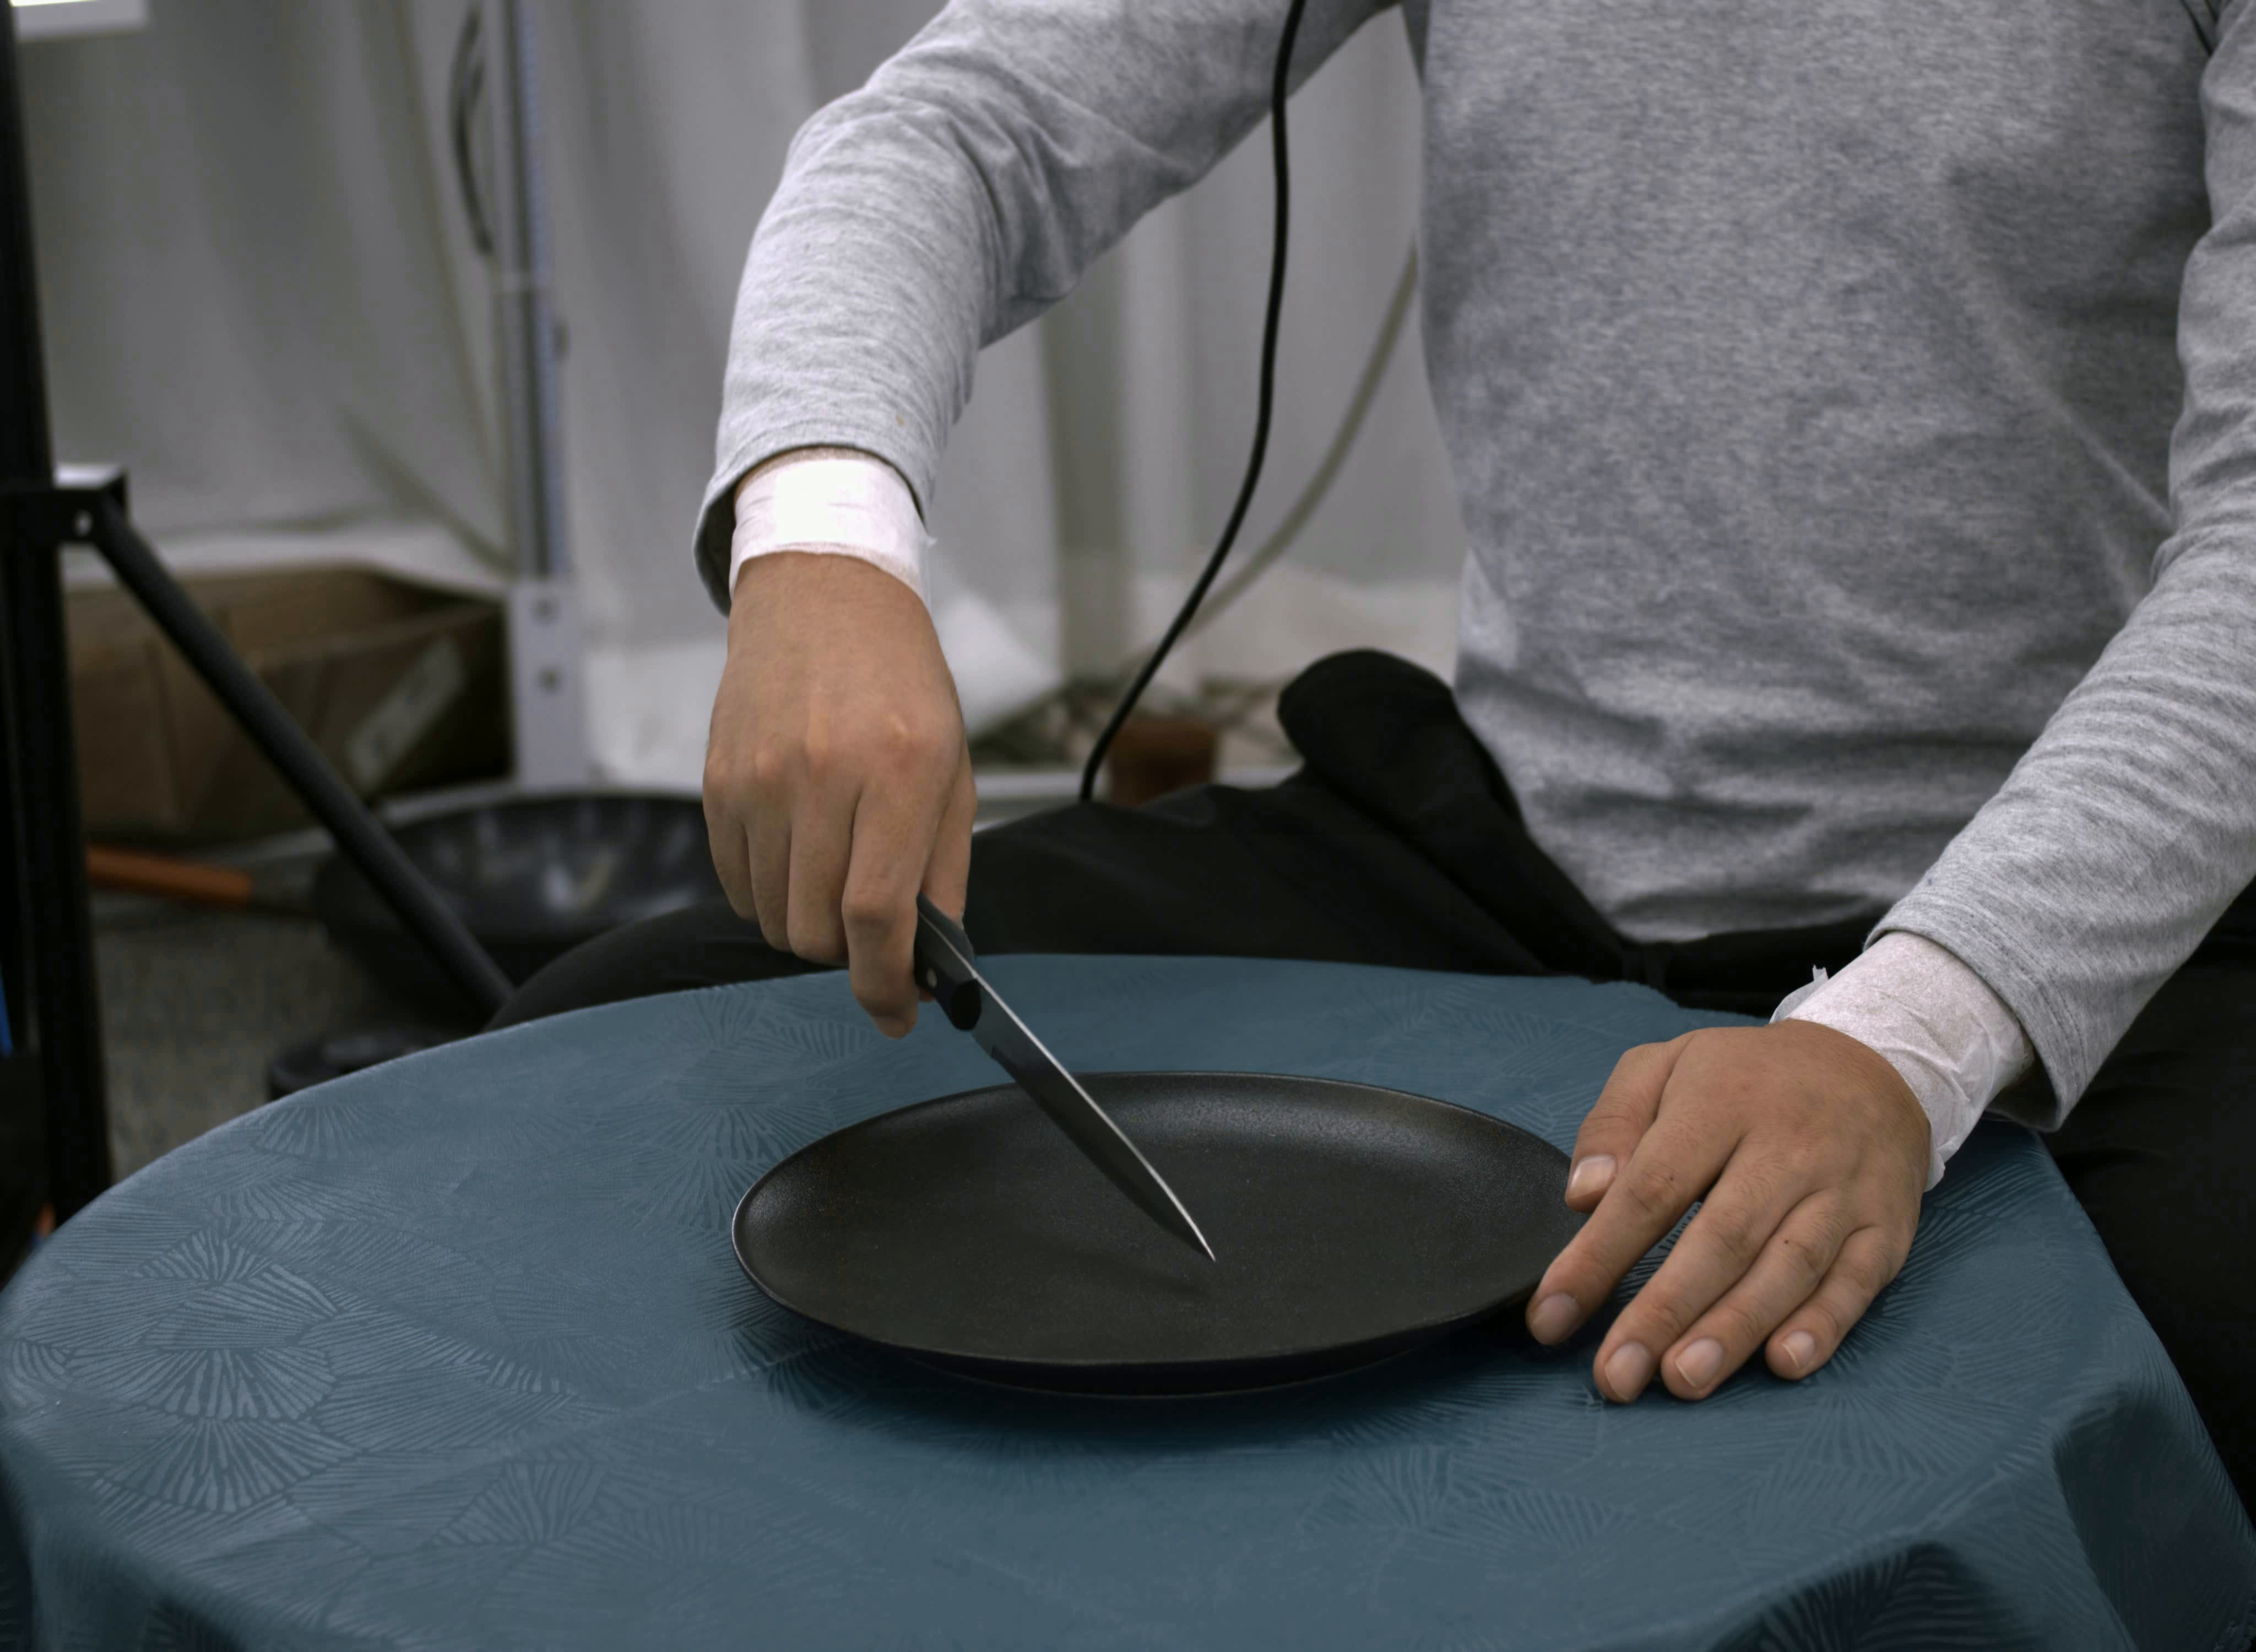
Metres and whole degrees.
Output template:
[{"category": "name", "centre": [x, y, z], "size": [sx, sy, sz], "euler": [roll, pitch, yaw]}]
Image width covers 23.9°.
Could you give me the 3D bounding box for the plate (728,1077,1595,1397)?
[{"category": "plate", "centre": [0.010, 0.117, 1.488], "size": [0.243, 0.023, 0.245], "euler": [-3, 15, -1]}]

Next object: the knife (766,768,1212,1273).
[{"category": "knife", "centre": [-0.040, 0.052, 1.531], "size": [0.016, 0.024, 0.243], "euler": [-13, 41, -31]}]
